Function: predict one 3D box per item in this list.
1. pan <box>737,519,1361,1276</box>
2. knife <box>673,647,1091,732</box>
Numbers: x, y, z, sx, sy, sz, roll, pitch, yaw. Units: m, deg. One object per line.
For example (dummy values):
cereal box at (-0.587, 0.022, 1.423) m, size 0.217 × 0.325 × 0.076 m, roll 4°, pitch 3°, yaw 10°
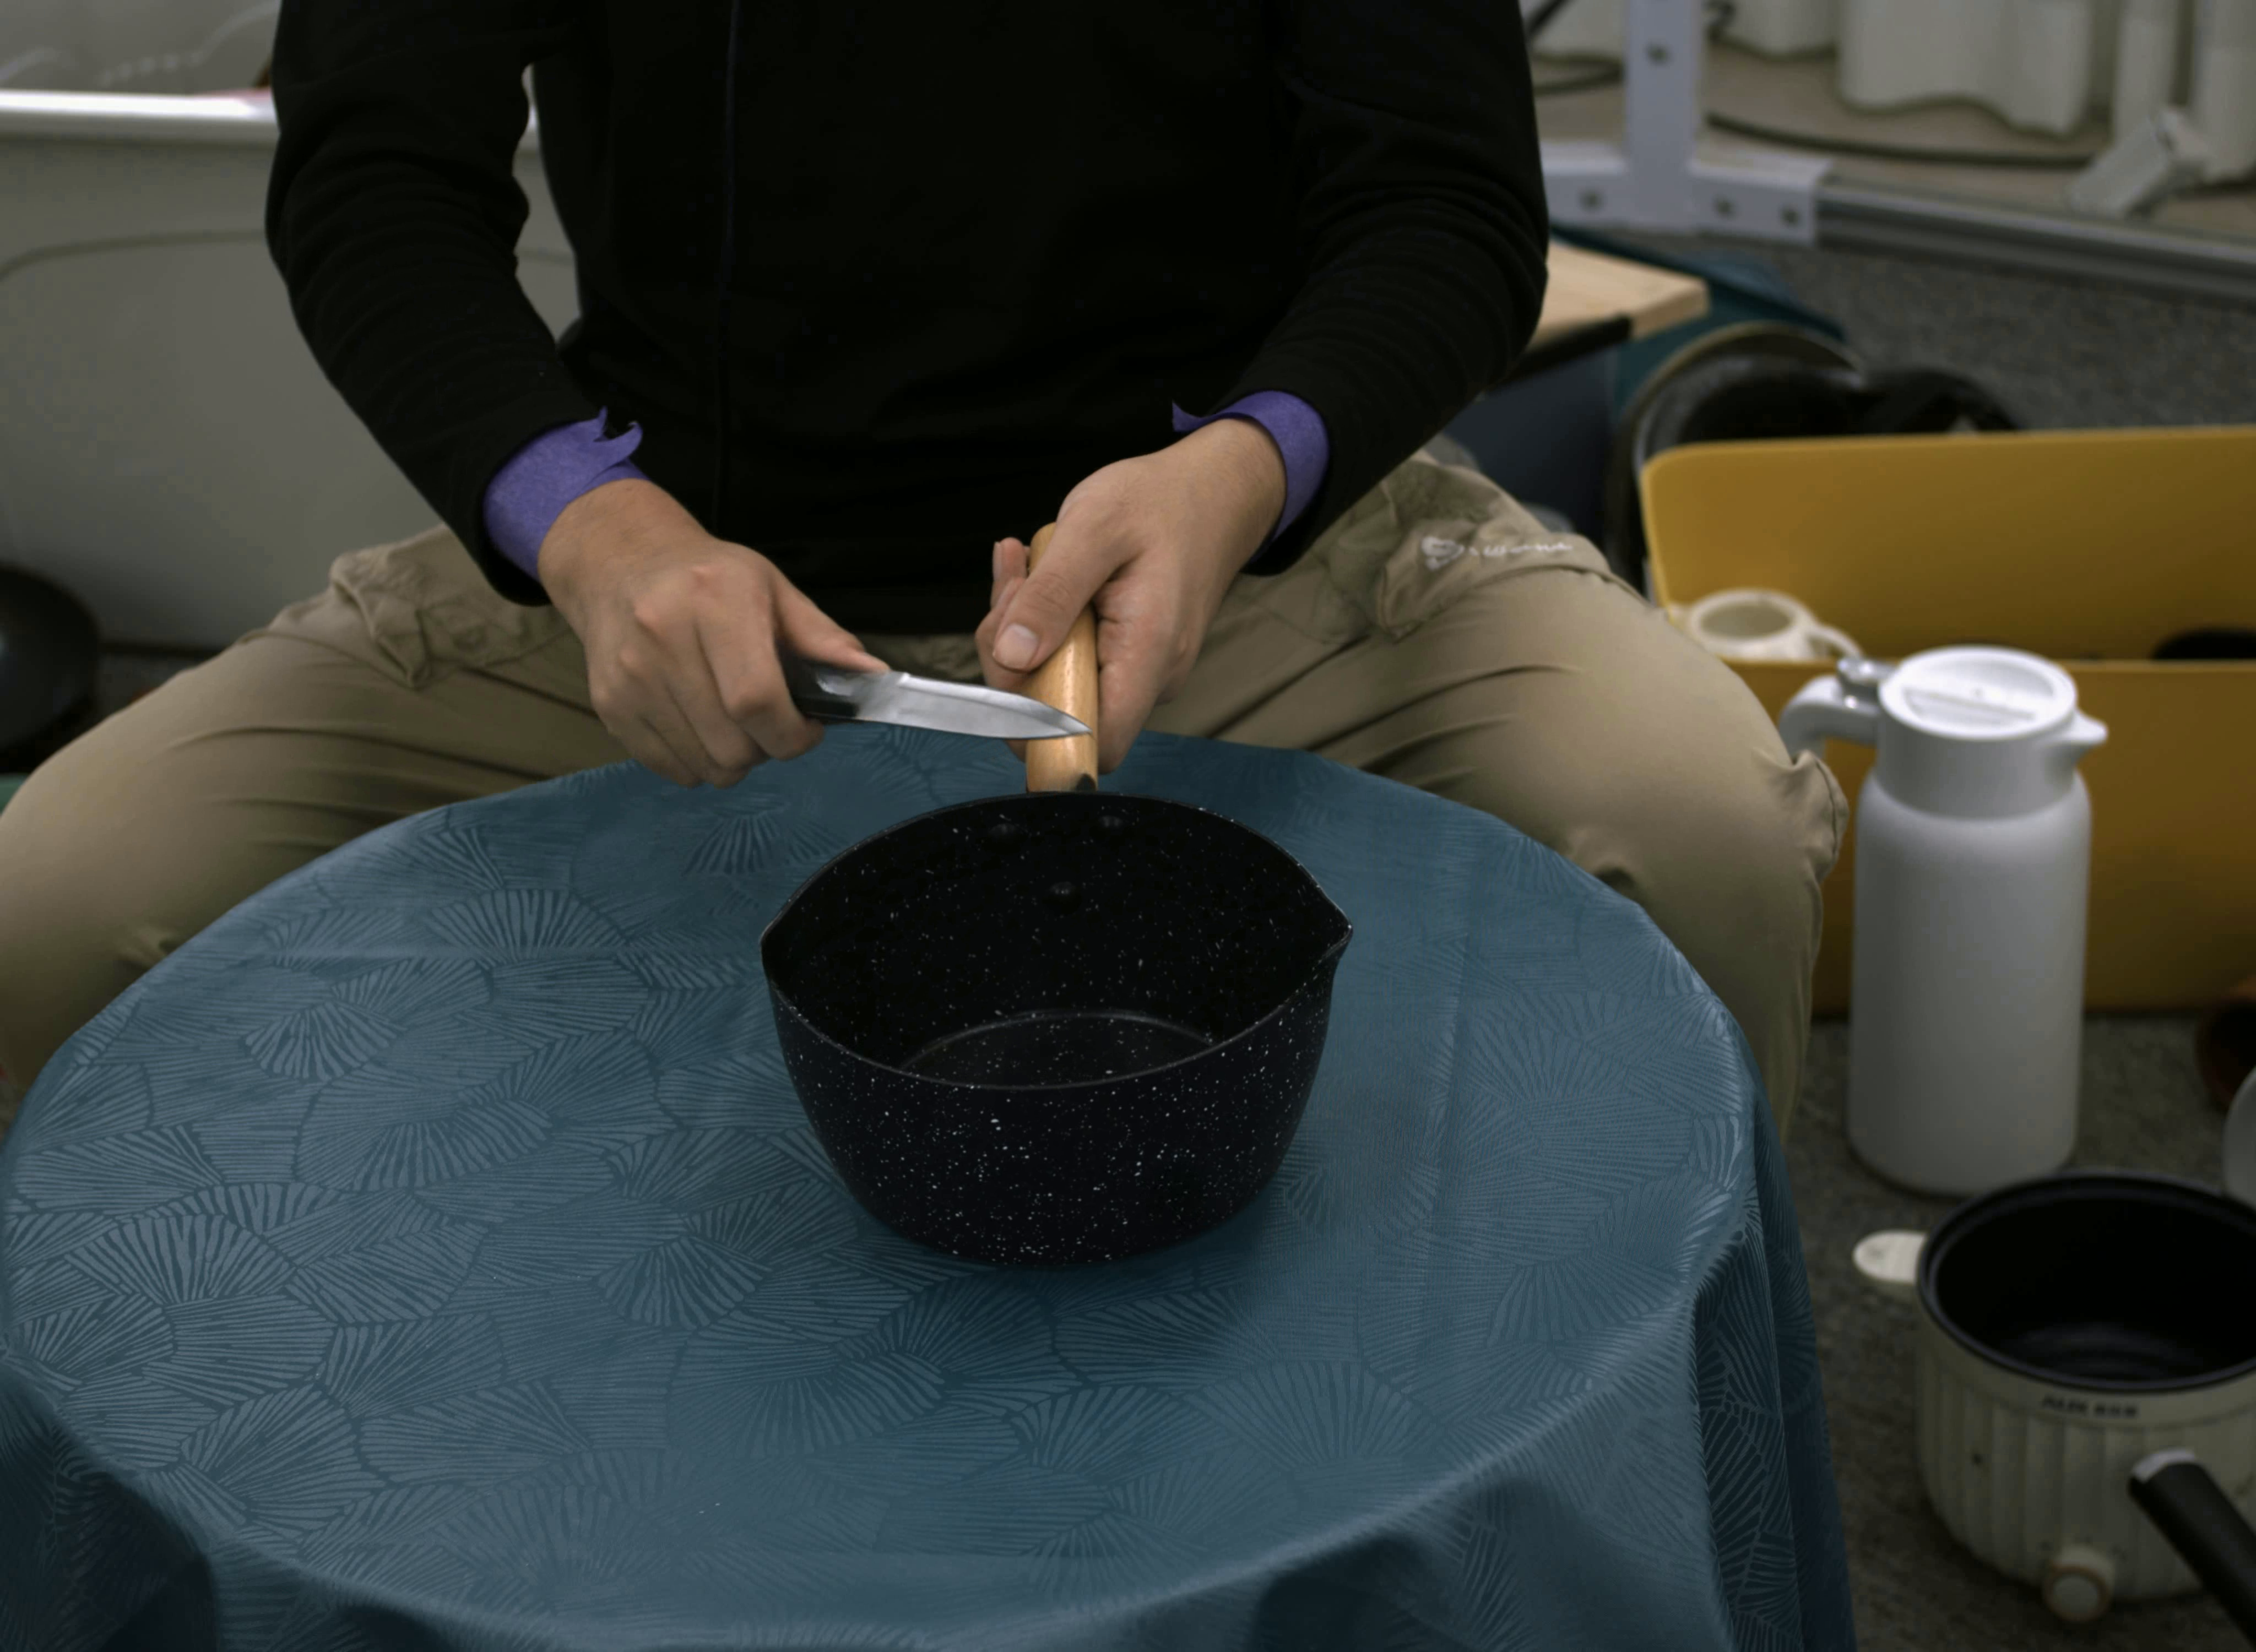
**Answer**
pan at (-0.025, 0.021, 1.927) m, size 0.206 × 0.107 × 0.348 m, roll -3°, pitch 31°, yaw 1°
knife at (-0.088, -0.045, 1.947) m, size 0.236 × 0.016 × 0.025 m, roll 8°, pitch 53°, yaw 51°
